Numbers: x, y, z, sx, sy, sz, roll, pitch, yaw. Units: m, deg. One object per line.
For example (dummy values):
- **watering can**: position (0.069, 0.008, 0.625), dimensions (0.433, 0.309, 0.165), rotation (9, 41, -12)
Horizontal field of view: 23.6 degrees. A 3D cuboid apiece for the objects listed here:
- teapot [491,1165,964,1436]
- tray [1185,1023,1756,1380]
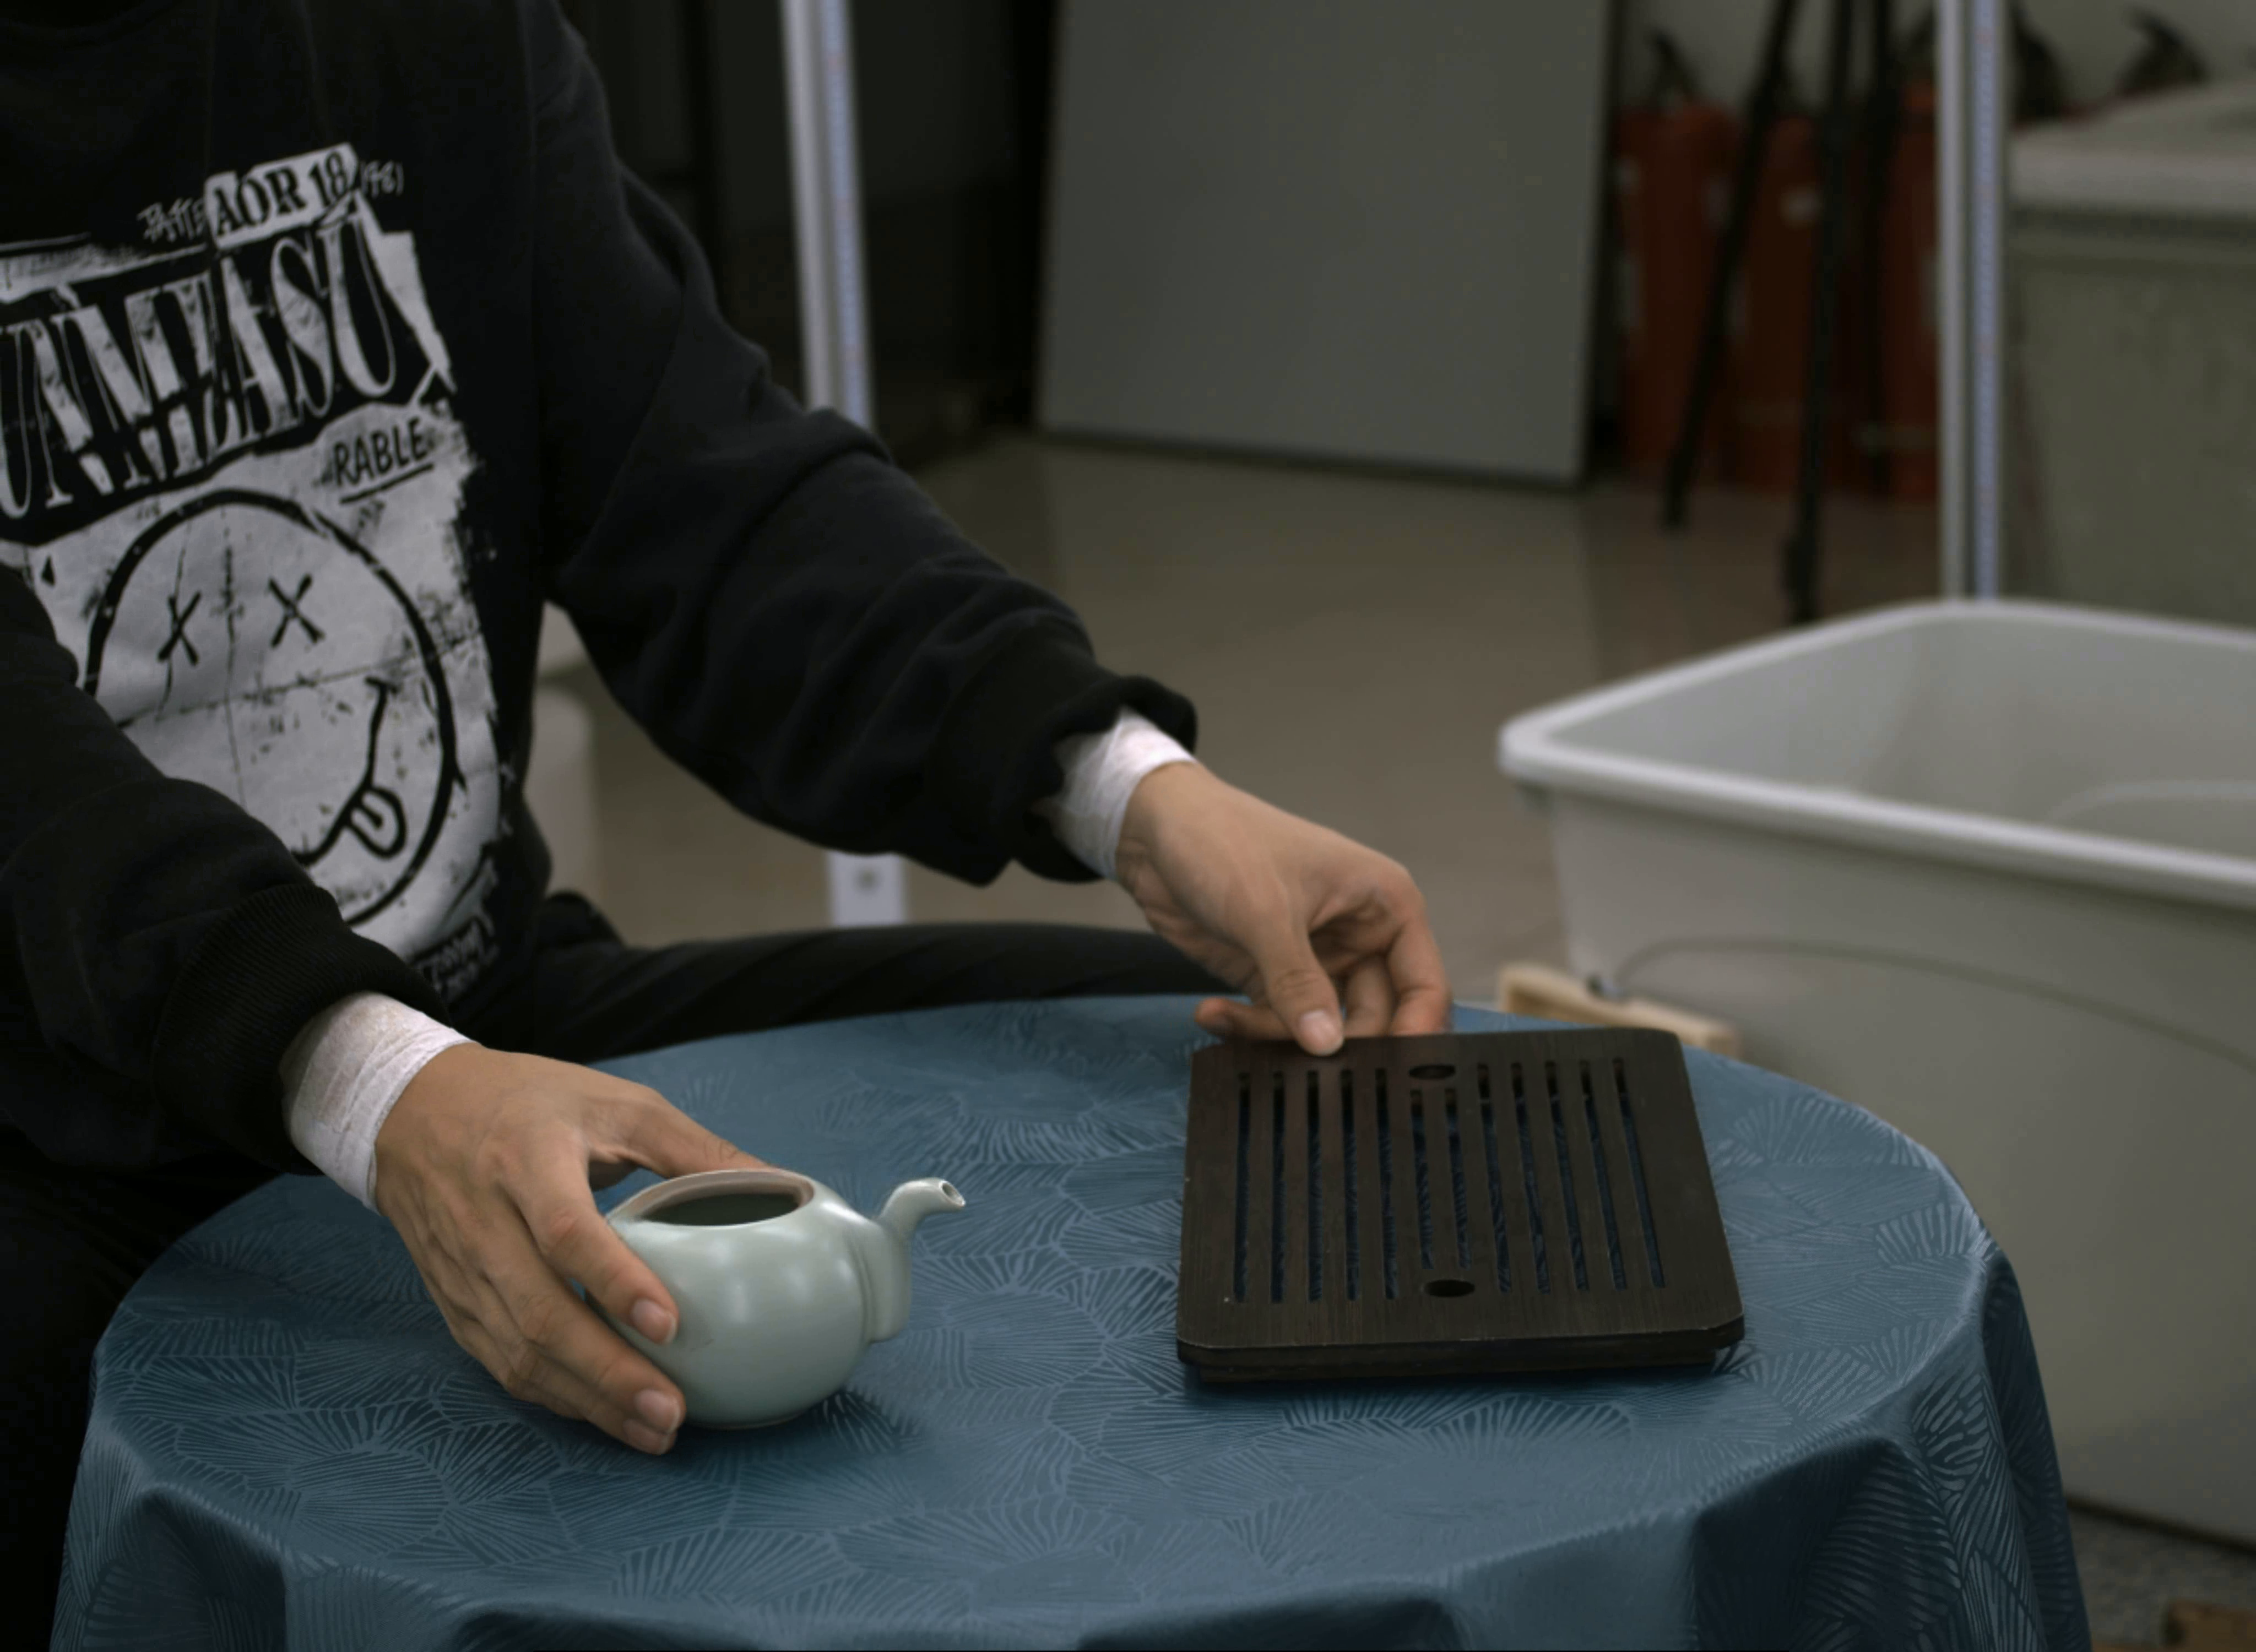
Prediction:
- **teapot**: position (-0.117, 0.138, 1.591), dimensions (0.143, 0.075, 0.088), rotation (1, 14, 12)
- **tray**: position (0.106, 0.117, 1.716), dimensions (0.168, 0.019, 0.306), rotation (-3, 14, 3)
